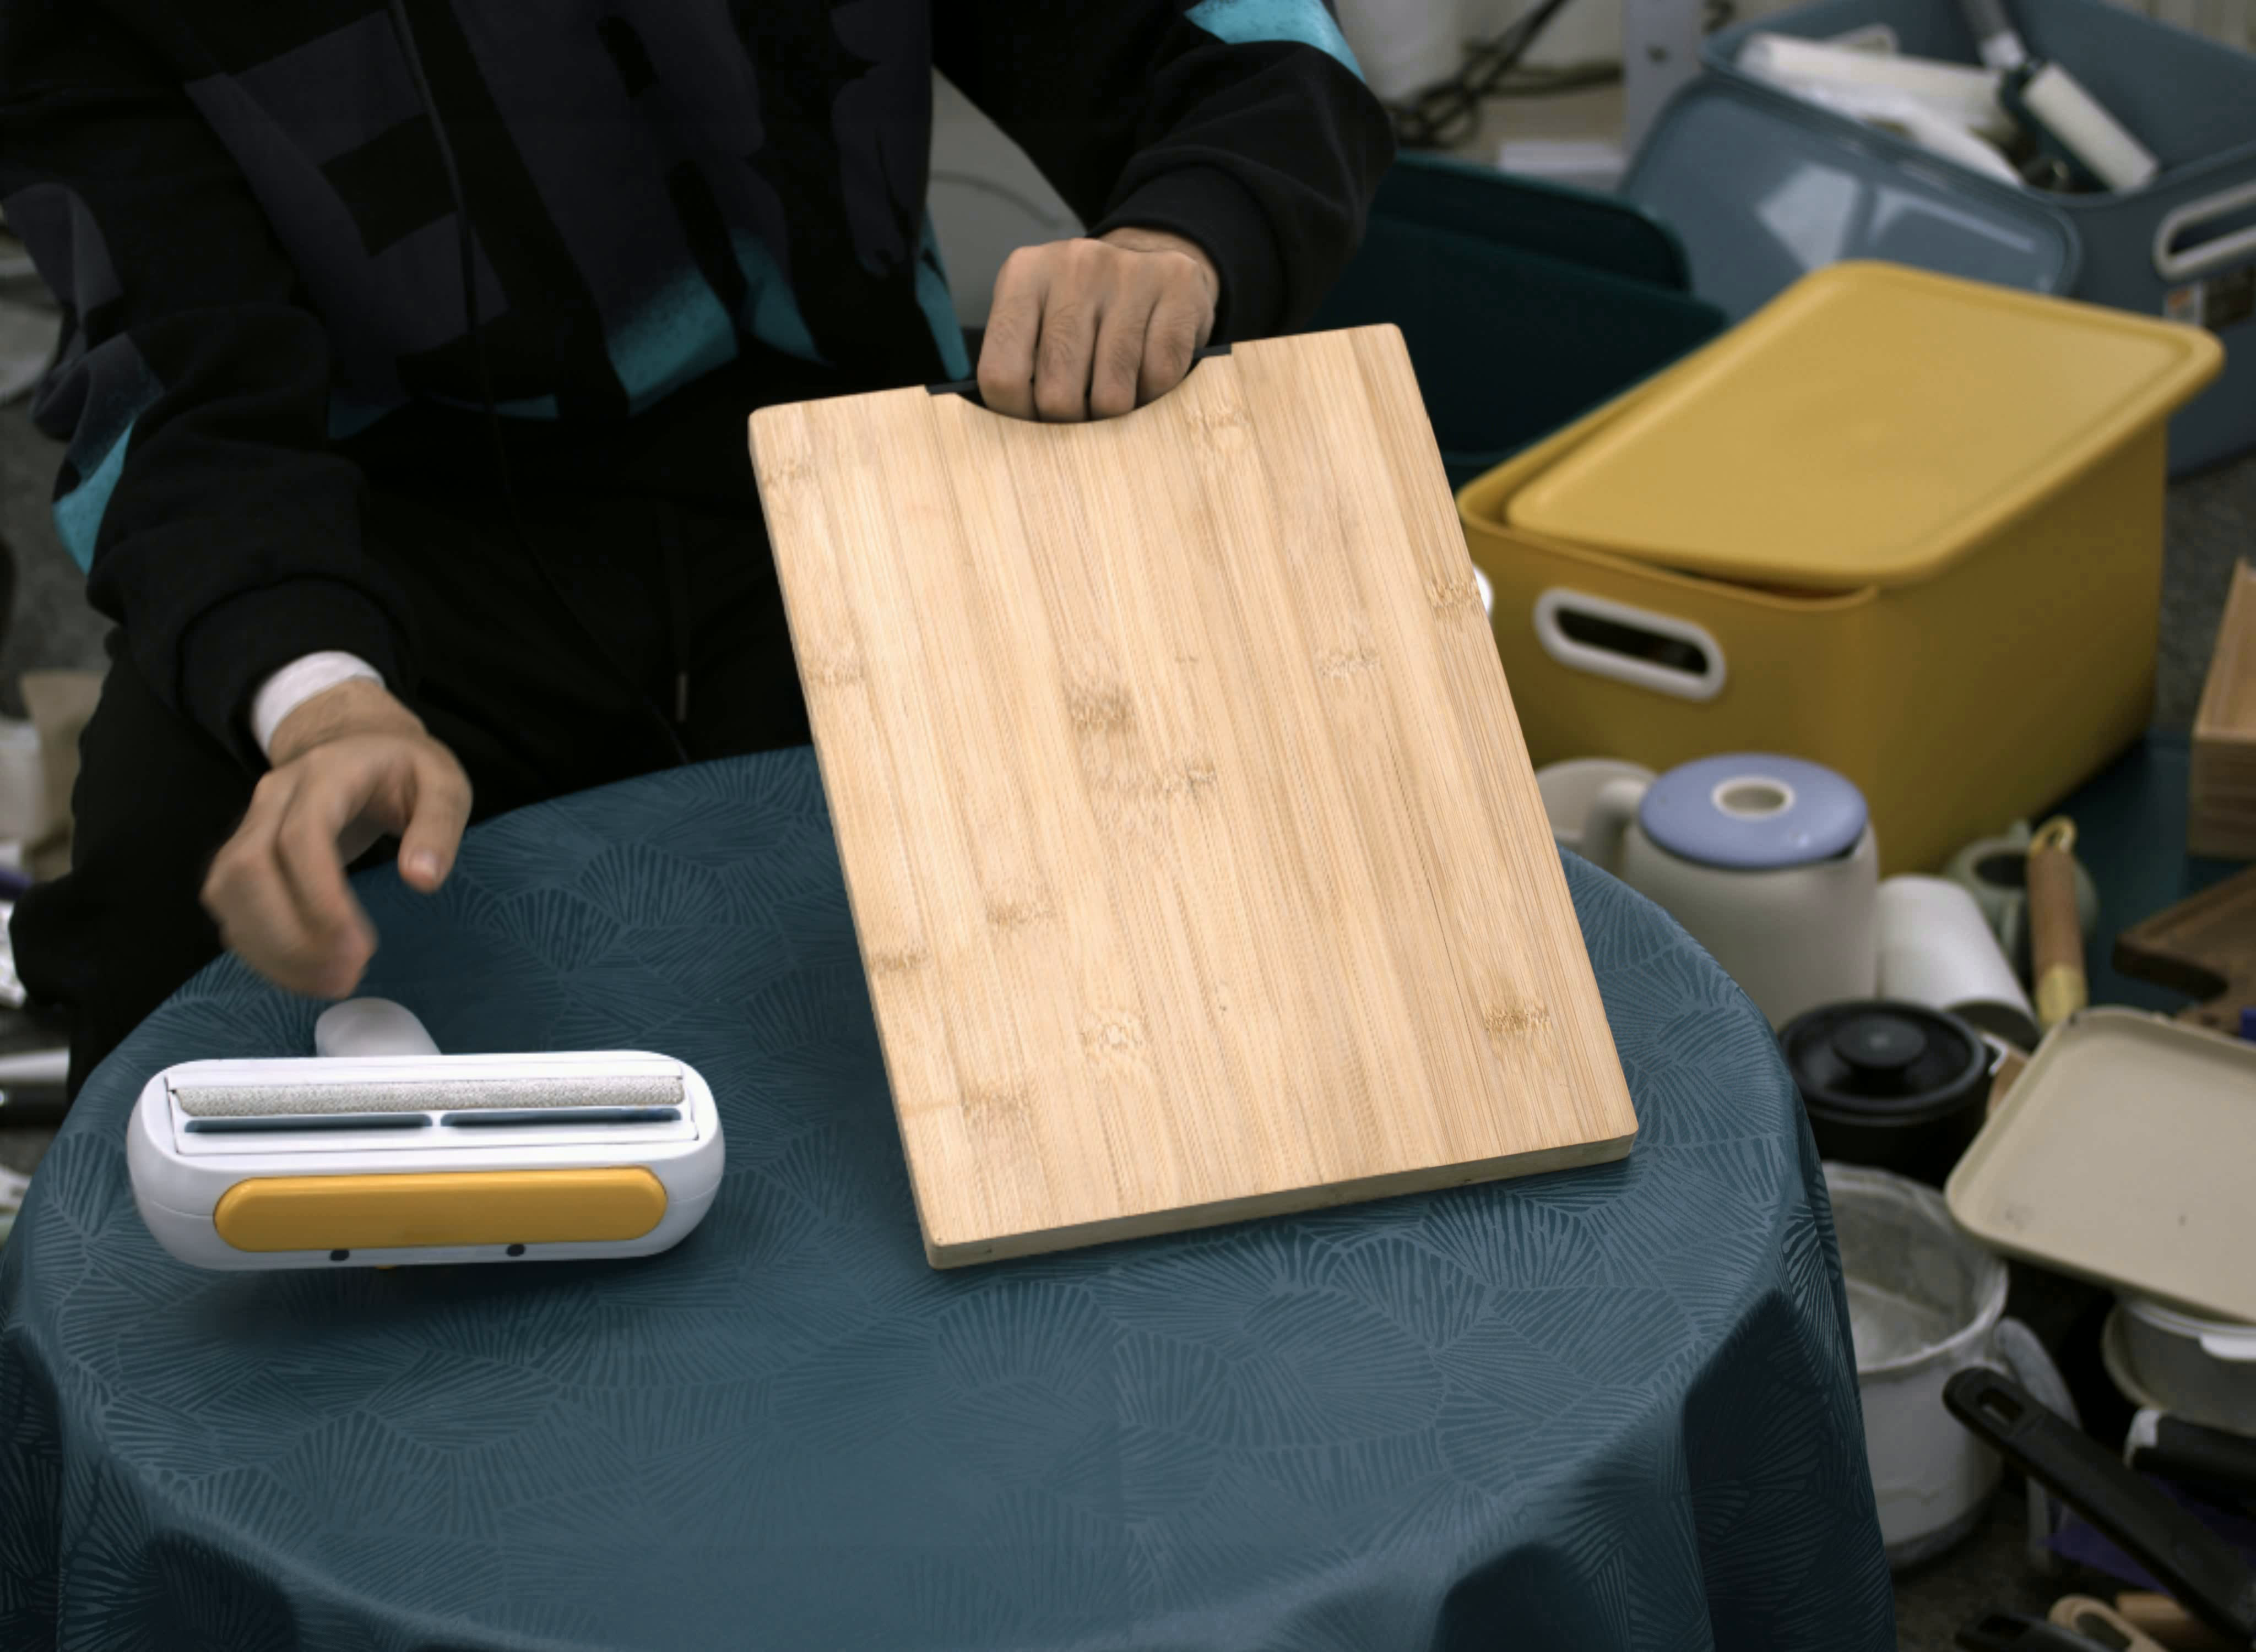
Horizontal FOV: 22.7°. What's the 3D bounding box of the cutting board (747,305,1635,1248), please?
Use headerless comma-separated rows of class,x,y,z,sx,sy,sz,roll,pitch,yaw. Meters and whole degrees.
cutting board,0.016,-0.022,1.931,0.250,0.023,0.354,-8,58,-11

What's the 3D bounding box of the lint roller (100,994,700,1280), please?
lint roller,-0.246,0.091,1.872,0.192,0.073,0.194,-3,25,-11
